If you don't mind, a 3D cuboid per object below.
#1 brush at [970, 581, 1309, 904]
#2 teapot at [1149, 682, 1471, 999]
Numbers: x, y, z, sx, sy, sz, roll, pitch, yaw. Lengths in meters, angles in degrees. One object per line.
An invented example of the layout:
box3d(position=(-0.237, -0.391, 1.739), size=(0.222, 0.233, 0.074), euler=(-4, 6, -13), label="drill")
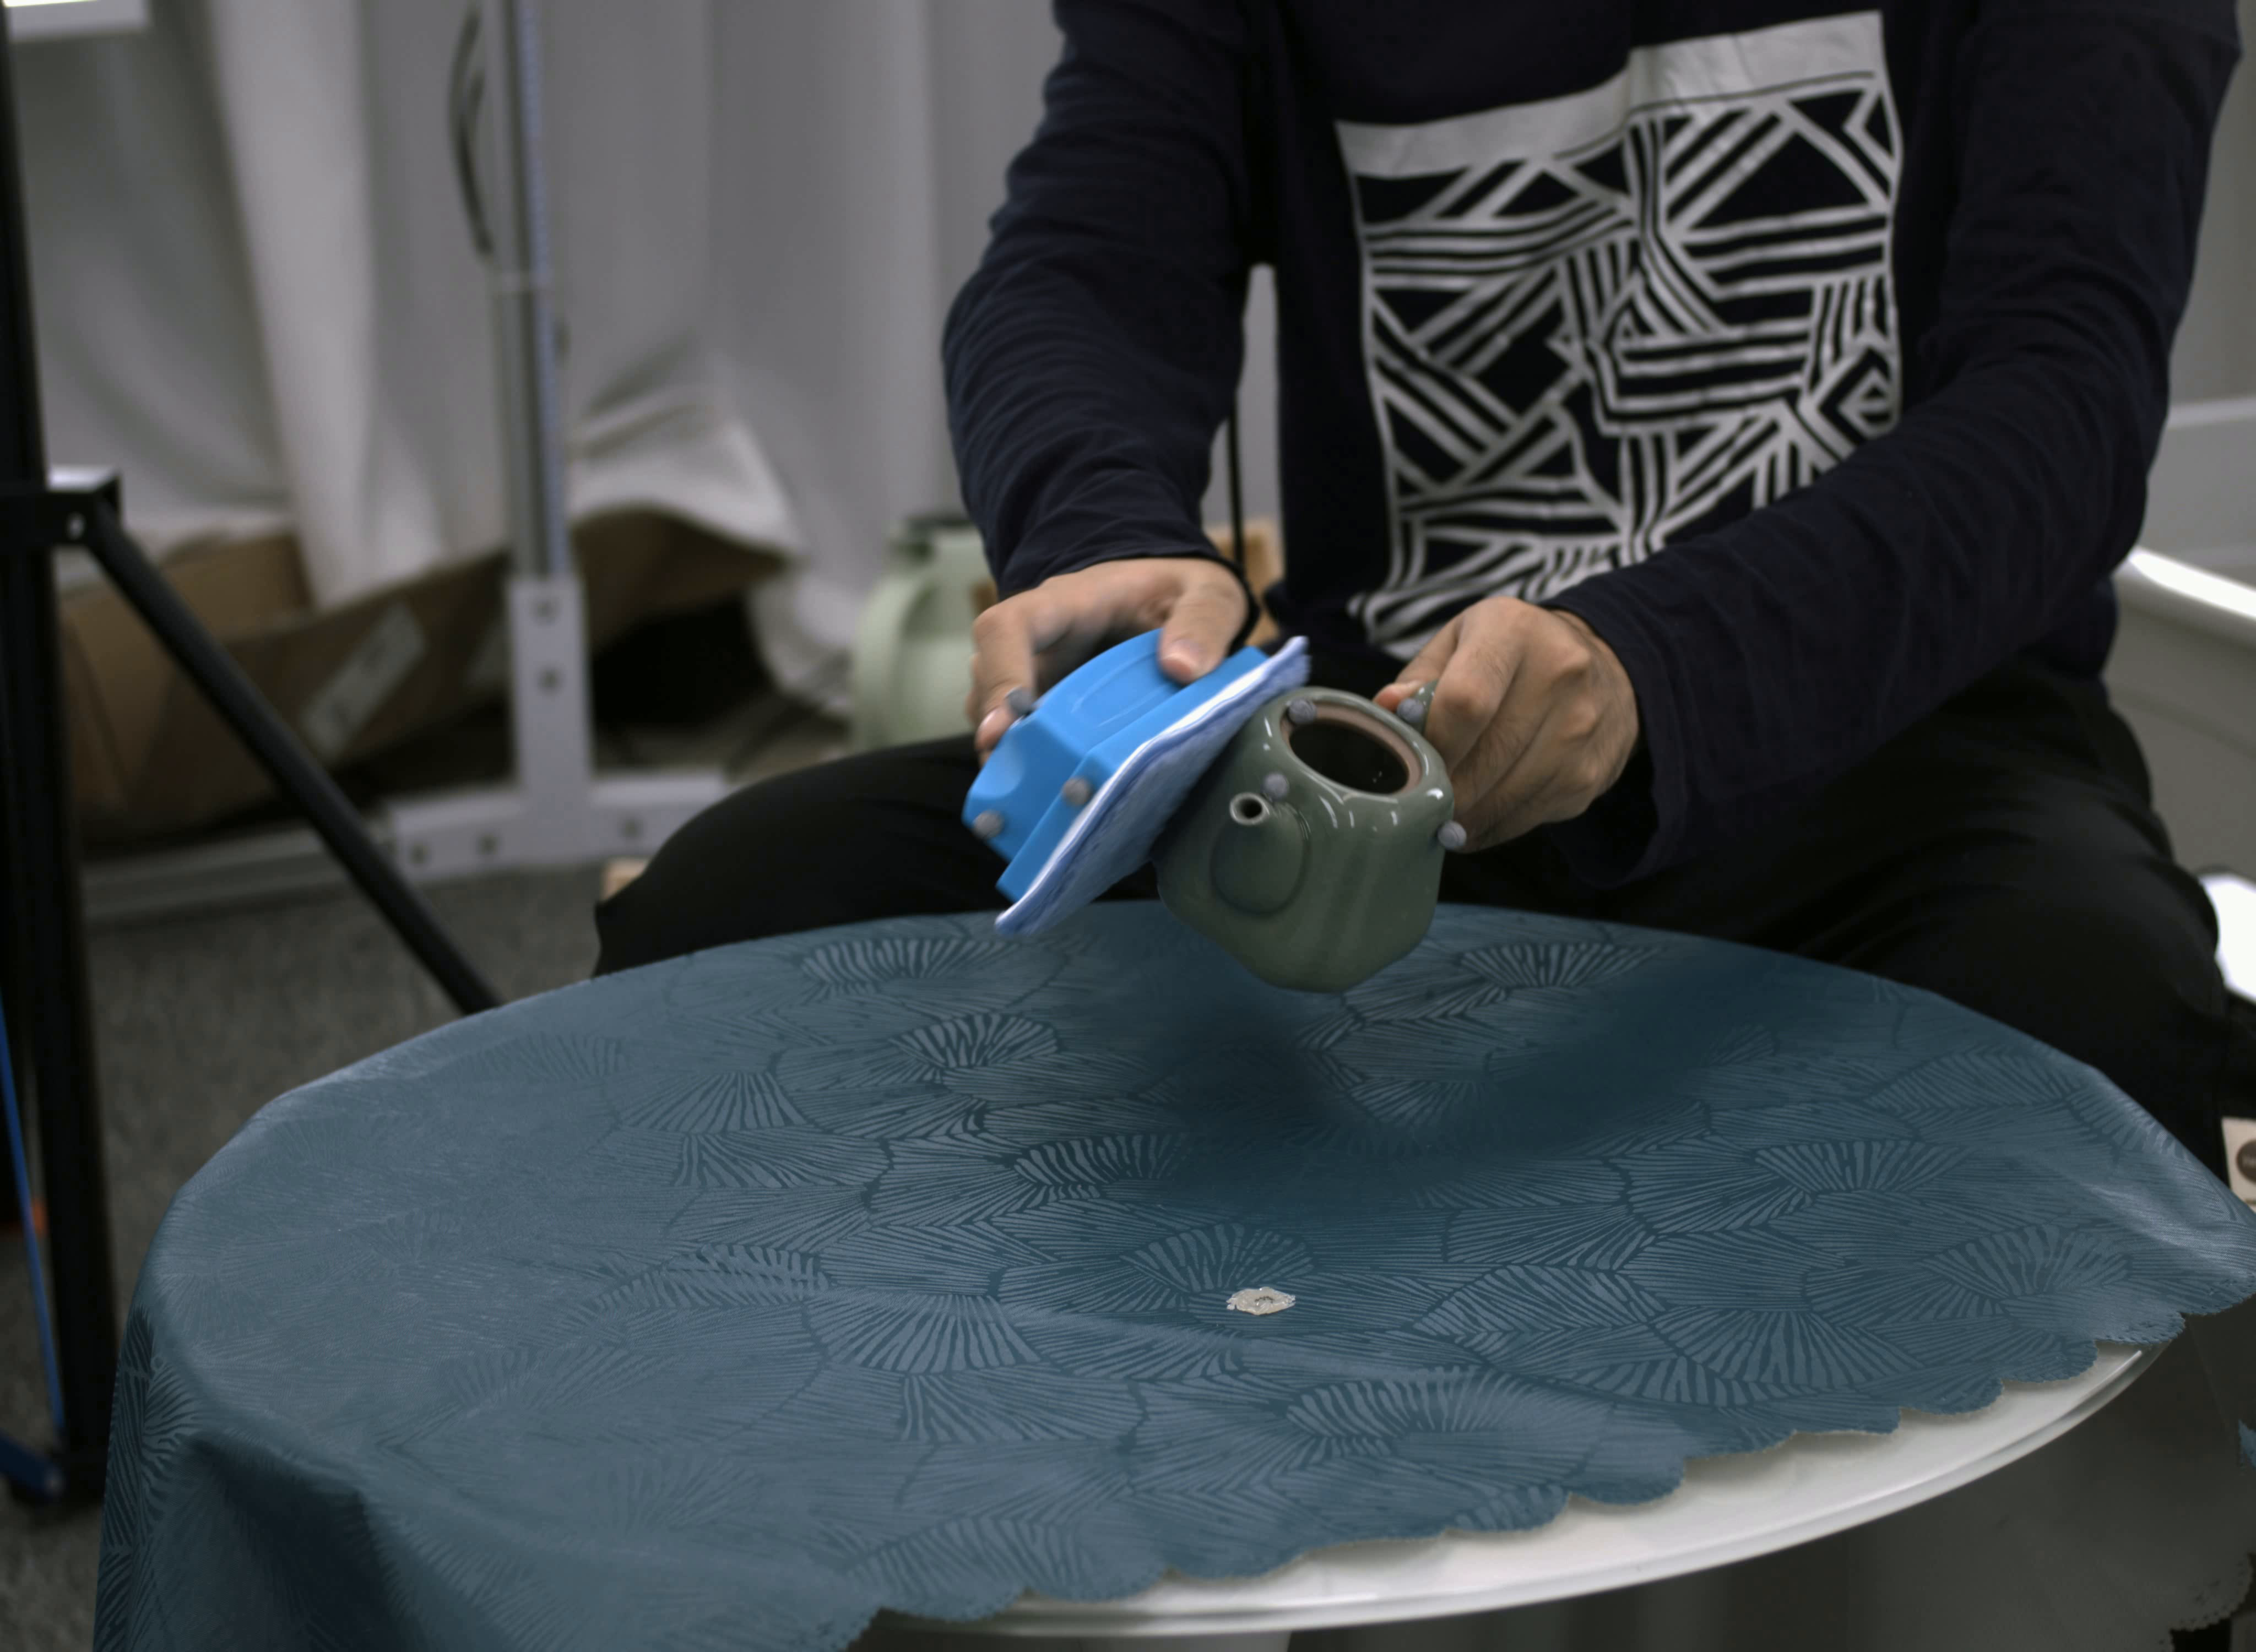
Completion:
box3d(position=(-0.003, -0.030, 1.602), size=(0.056, 0.084, 0.142), euler=(43, 30, 4), label="brush")
box3d(position=(0.056, 0.003, 1.597), size=(0.081, 0.075, 0.130), euler=(37, 35, 19), label="teapot")
